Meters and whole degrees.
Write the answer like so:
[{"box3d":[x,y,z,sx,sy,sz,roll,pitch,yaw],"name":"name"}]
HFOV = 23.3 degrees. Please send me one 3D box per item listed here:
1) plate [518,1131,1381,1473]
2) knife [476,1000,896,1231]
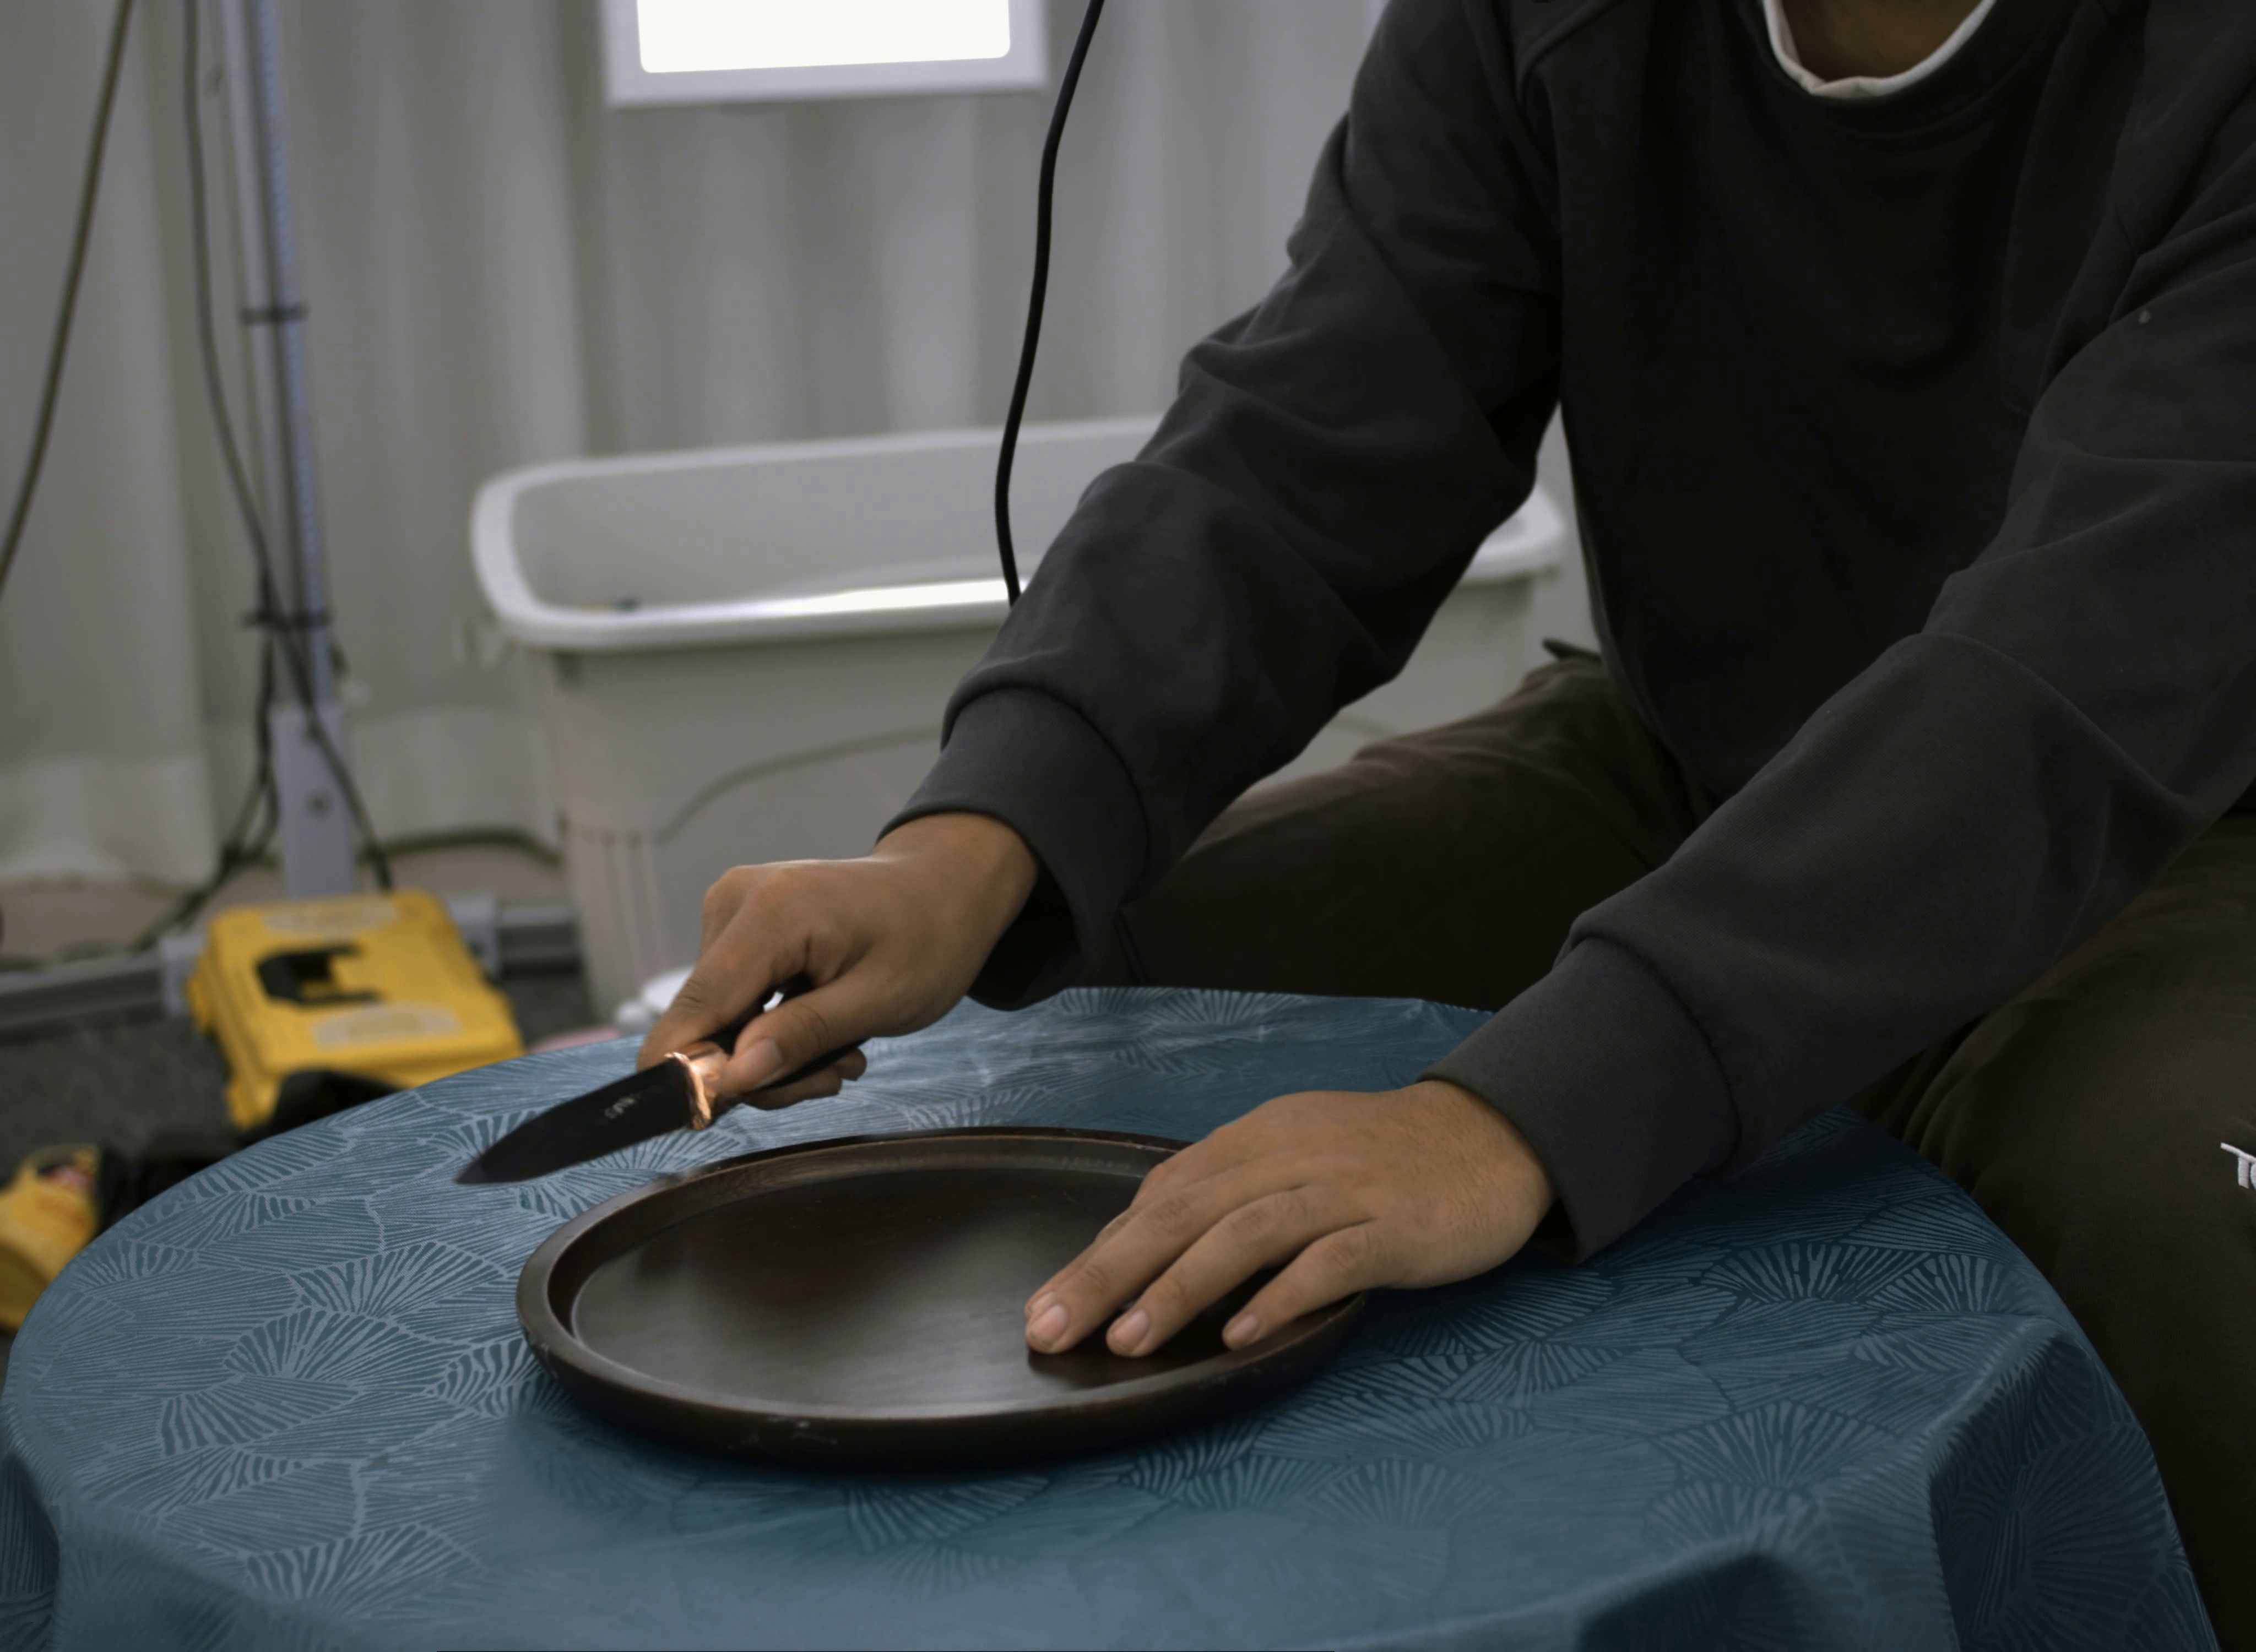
[{"box3d":[-0.051,0.137,1.599,0.254,0.029,0.256,-3,13,0],"name":"plate"},{"box3d":[-0.136,0.088,1.699,0.017,0.026,0.225,-24,-1,33],"name":"knife"}]
